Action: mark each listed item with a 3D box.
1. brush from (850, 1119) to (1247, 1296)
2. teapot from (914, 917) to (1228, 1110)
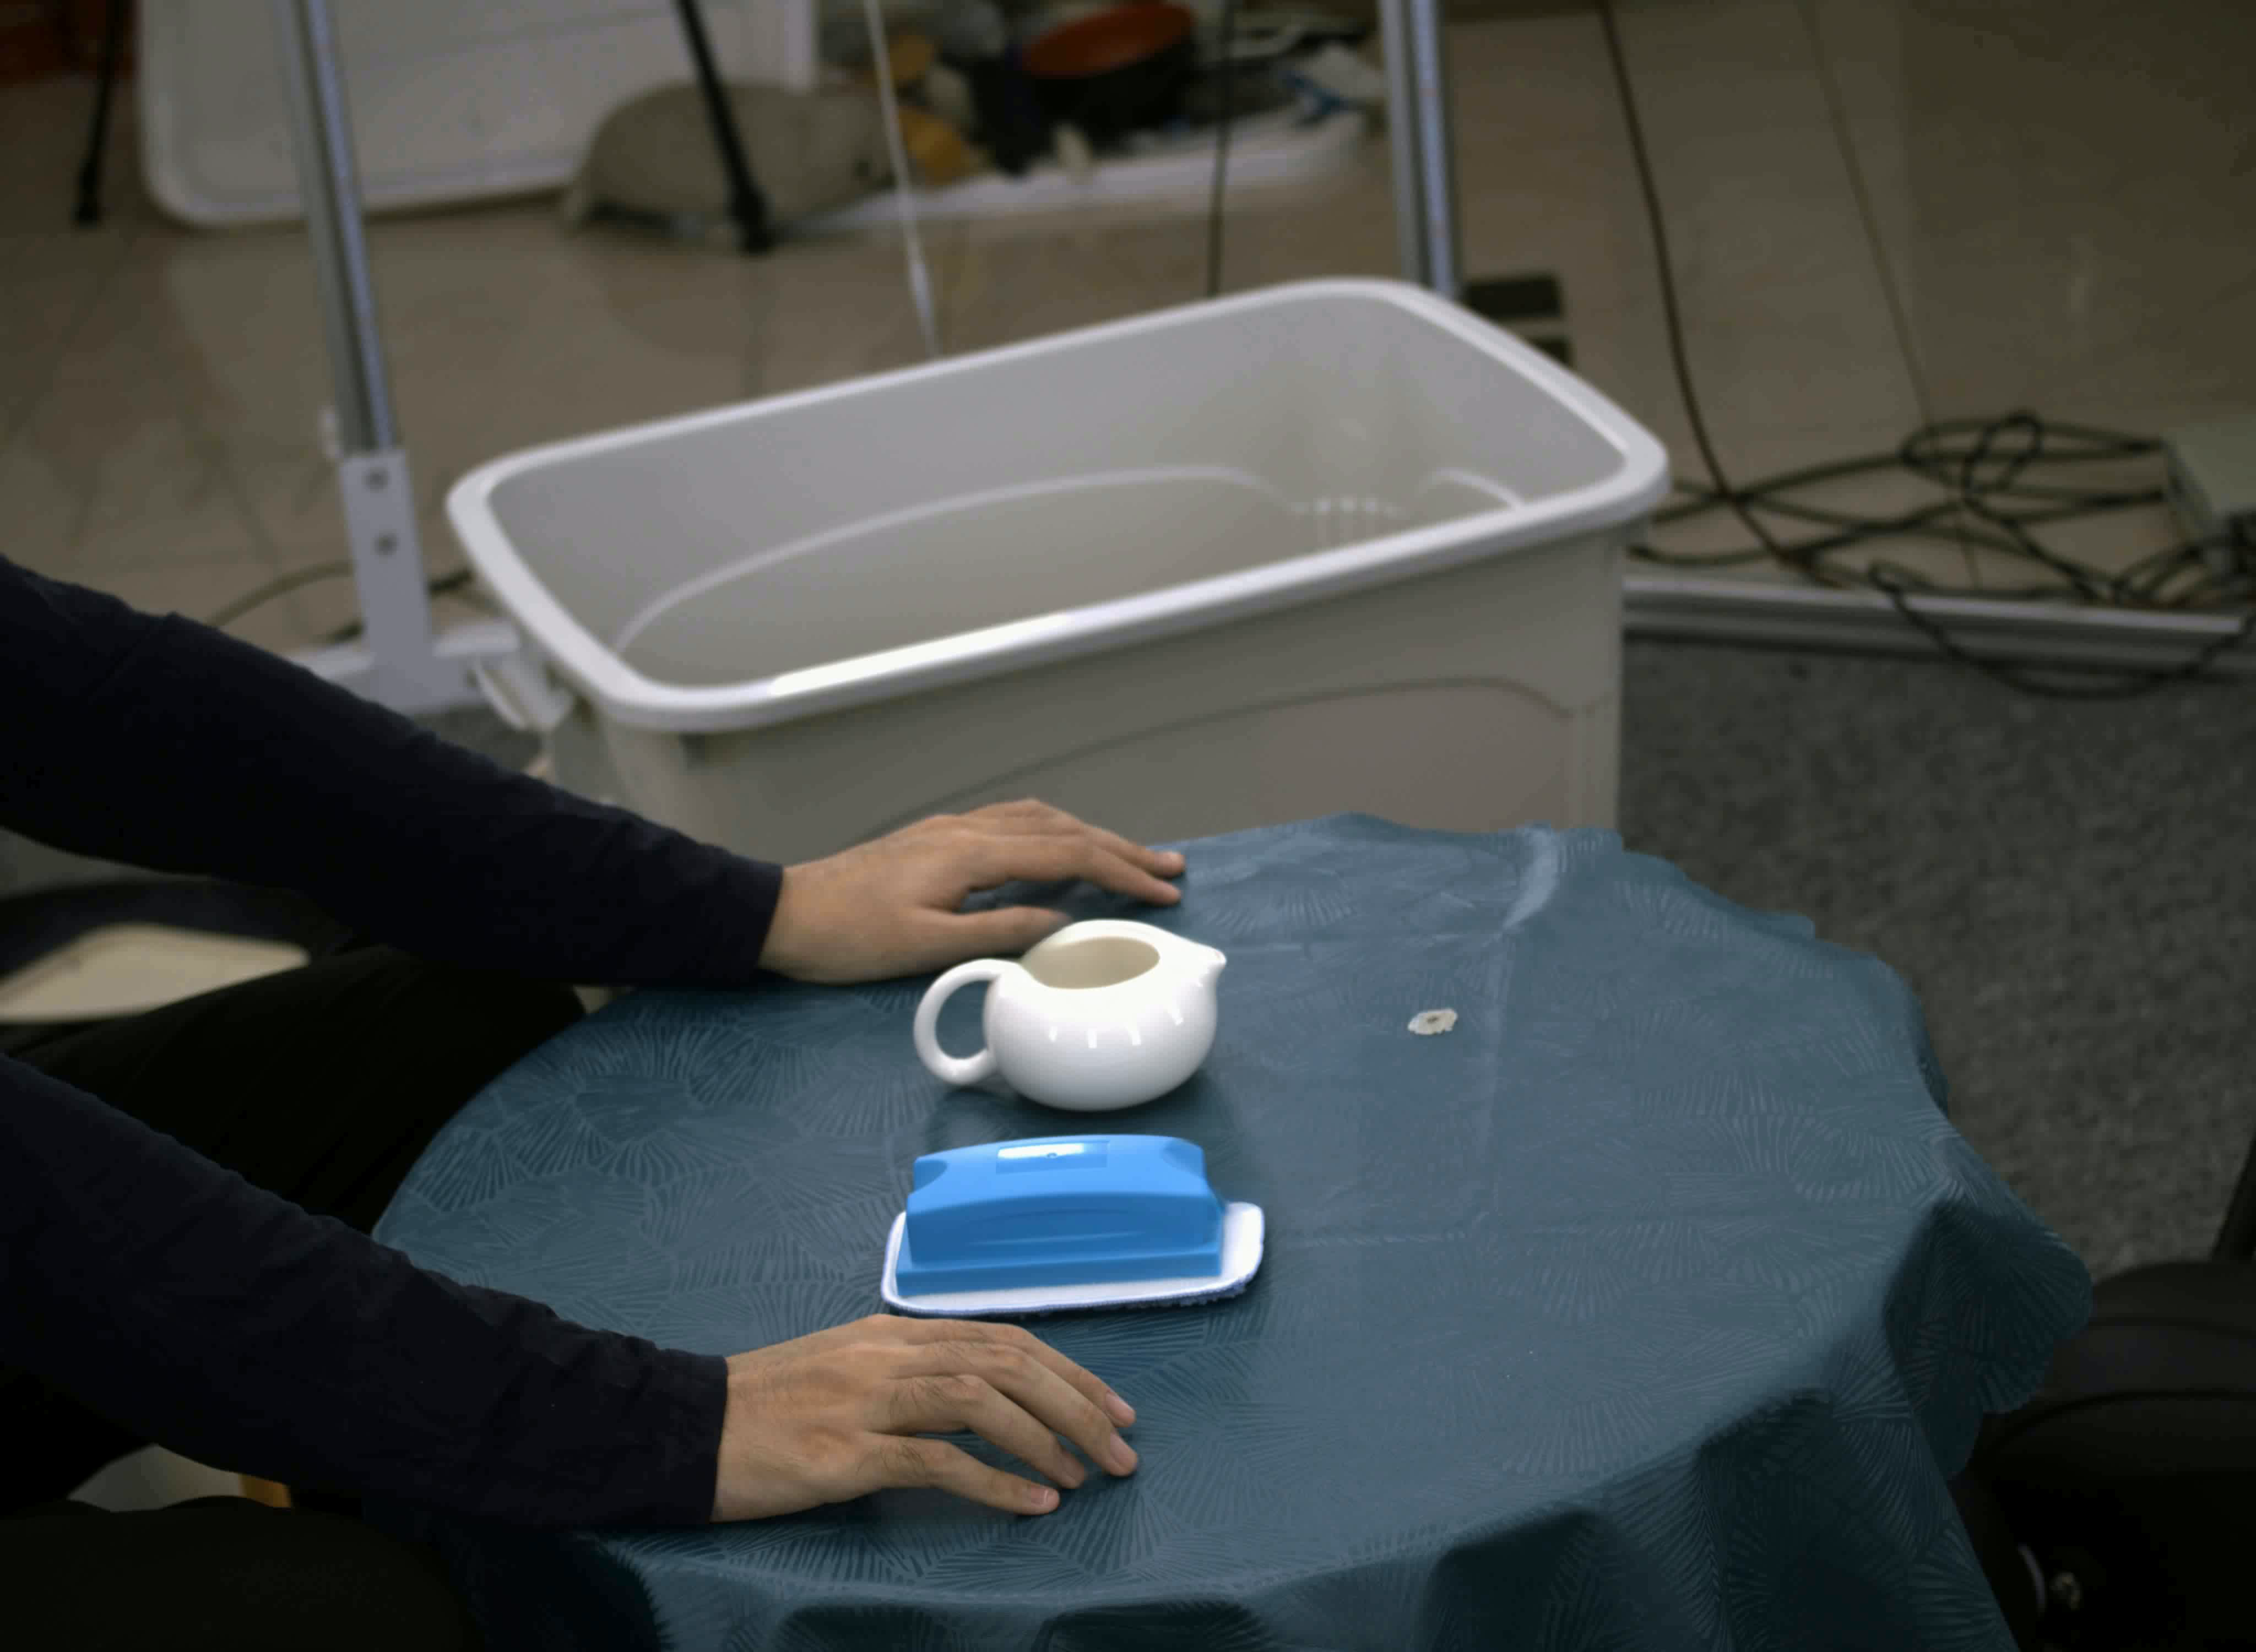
[{"bbox_3d":[-0.030,0.138,2.083,0.144,0.057,0.083,-1,22,6],"label":"brush"},{"bbox_3d":[-0.021,0.076,2.224,0.127,0.057,0.092,-6,28,3],"label":"teapot"}]
